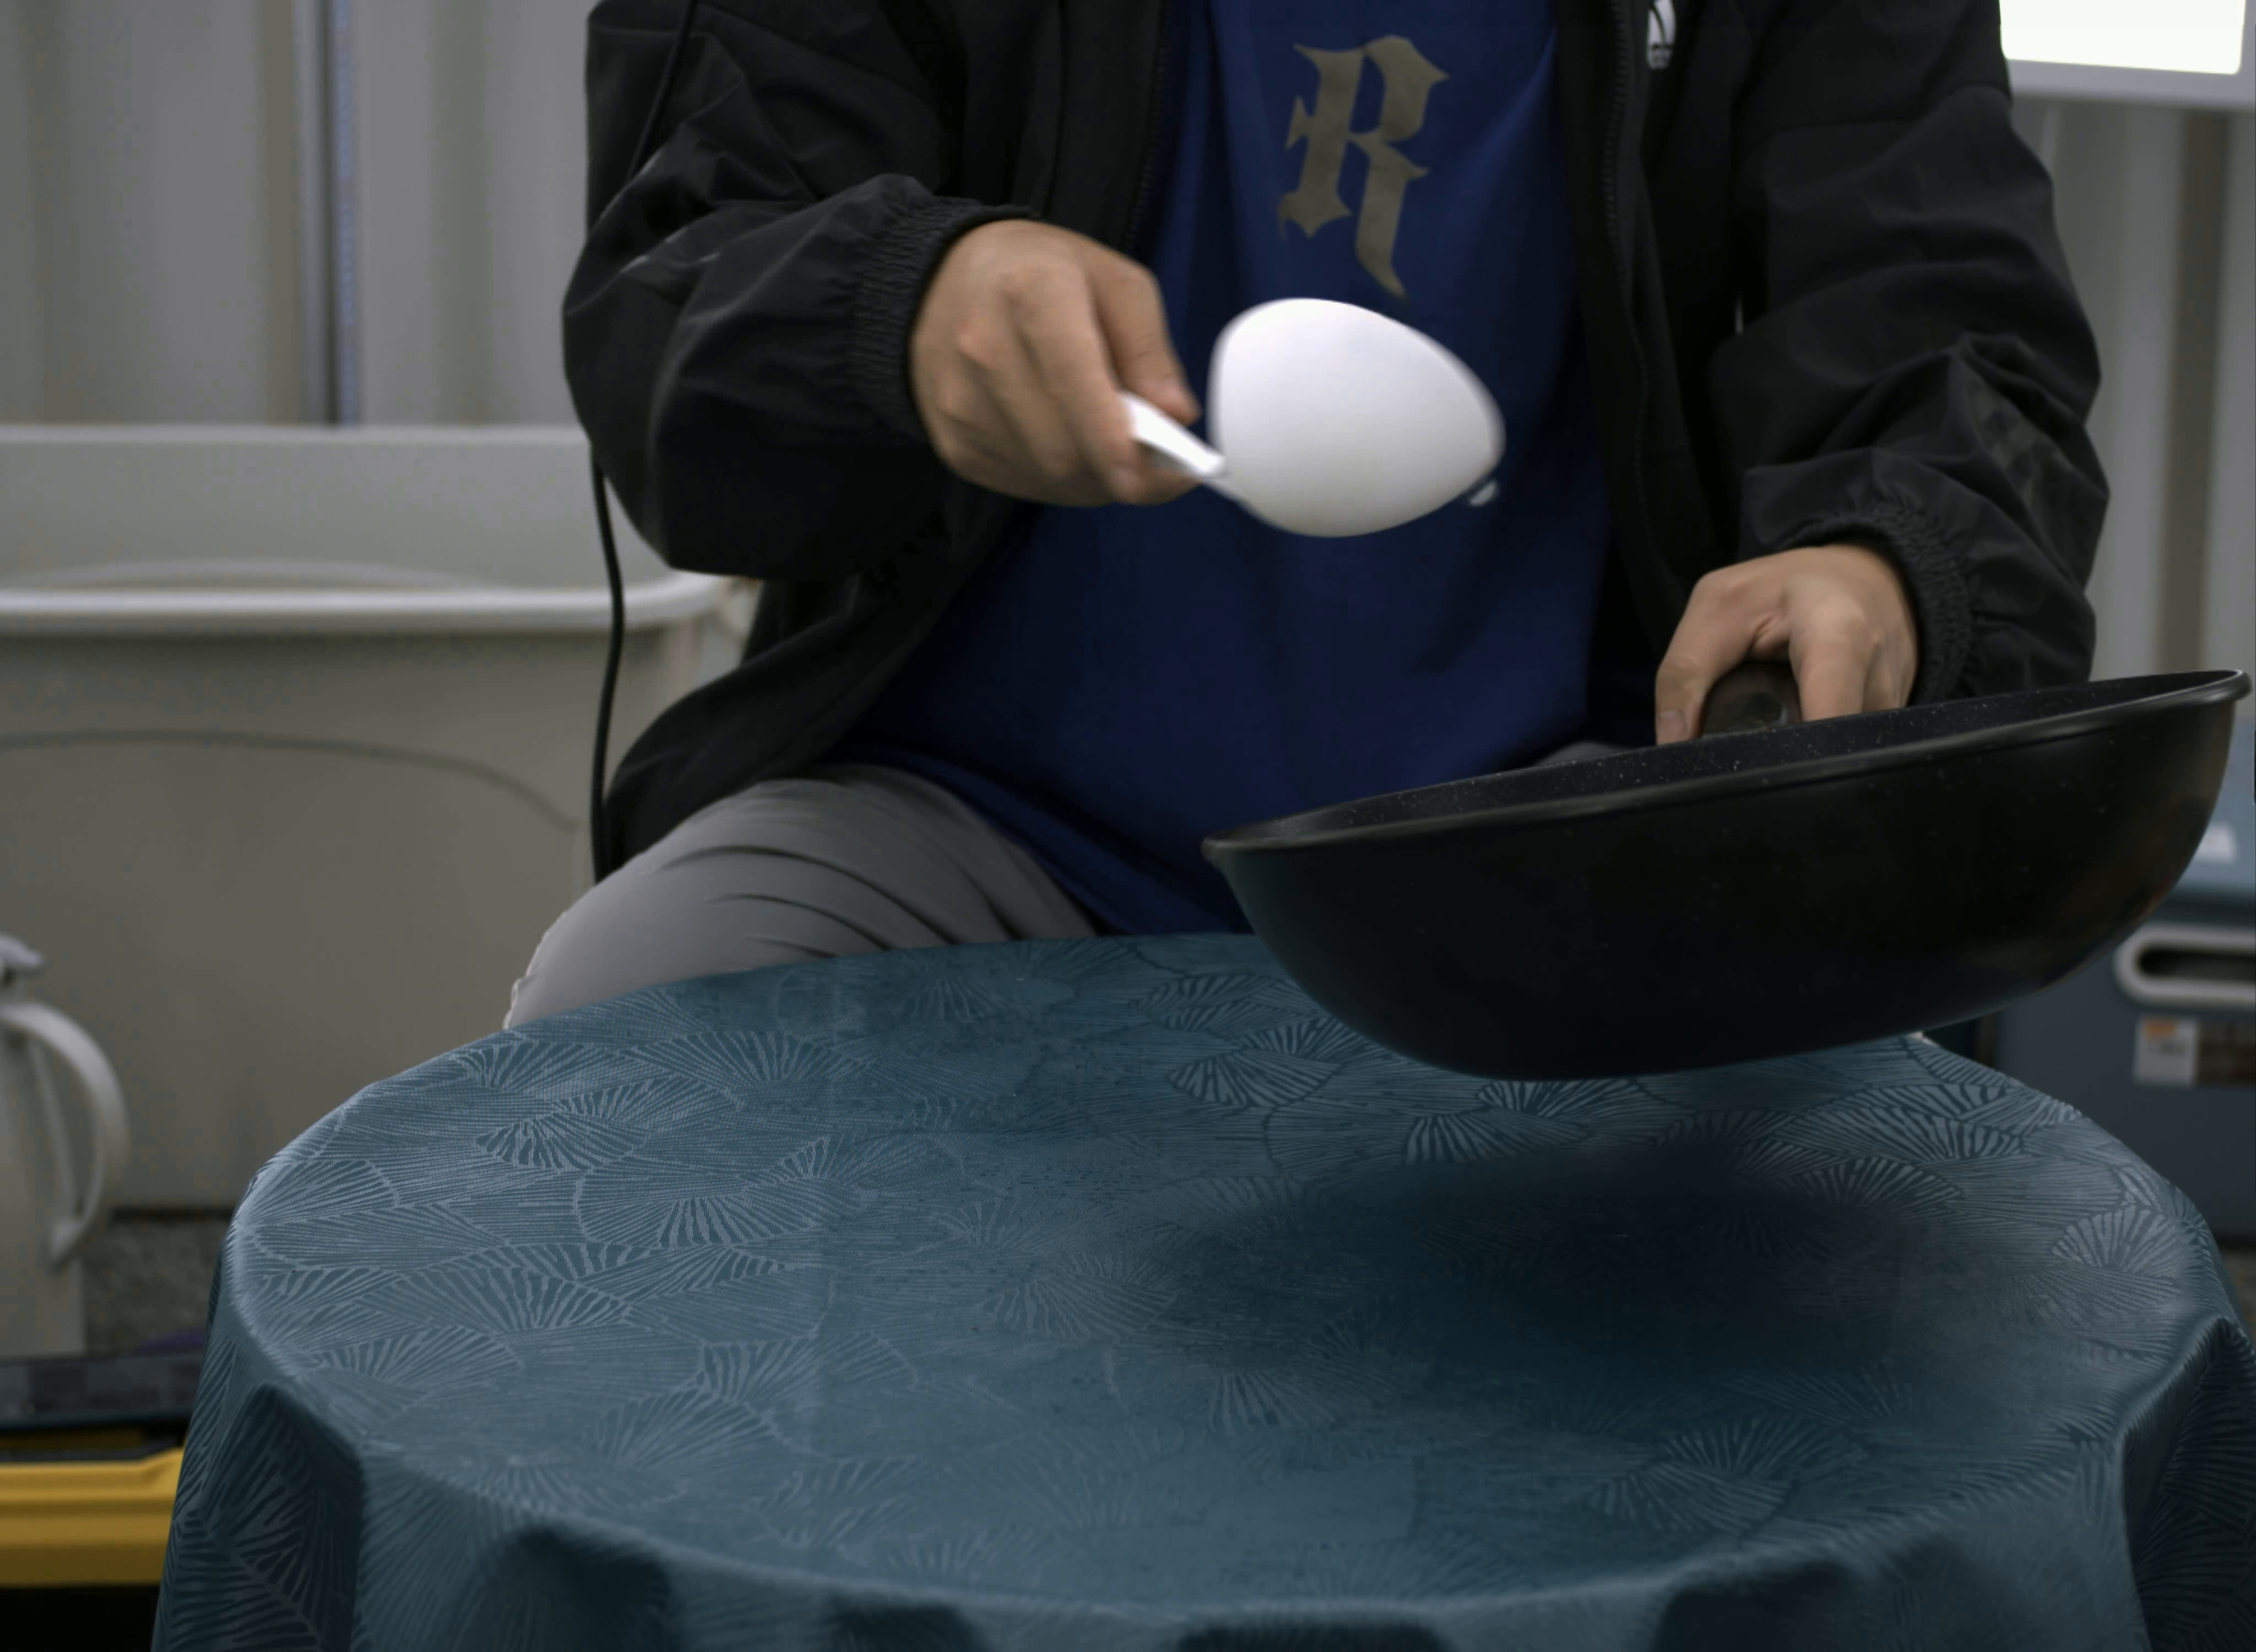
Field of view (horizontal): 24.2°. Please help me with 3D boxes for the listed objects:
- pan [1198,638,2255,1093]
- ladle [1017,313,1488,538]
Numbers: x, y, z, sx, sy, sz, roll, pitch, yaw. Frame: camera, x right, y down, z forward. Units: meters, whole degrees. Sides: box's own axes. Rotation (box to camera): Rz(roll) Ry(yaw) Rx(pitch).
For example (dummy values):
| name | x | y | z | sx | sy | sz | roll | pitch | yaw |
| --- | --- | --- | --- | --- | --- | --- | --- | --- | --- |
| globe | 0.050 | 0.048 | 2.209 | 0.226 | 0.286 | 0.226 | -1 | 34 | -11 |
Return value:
| name | x | y | z | sx | sy | sz | roll | pitch | yaw |
| --- | --- | --- | --- | --- | --- | --- | --- | --- | --- |
| pan | 0.190 | 0.006 | 1.615 | 0.308 | 0.112 | 0.477 | -7 | 3 | 9 |
| ladle | 0.026 | -0.132 | 1.672 | 0.090 | 0.070 | 0.290 | 19 | 2 | -19 |
